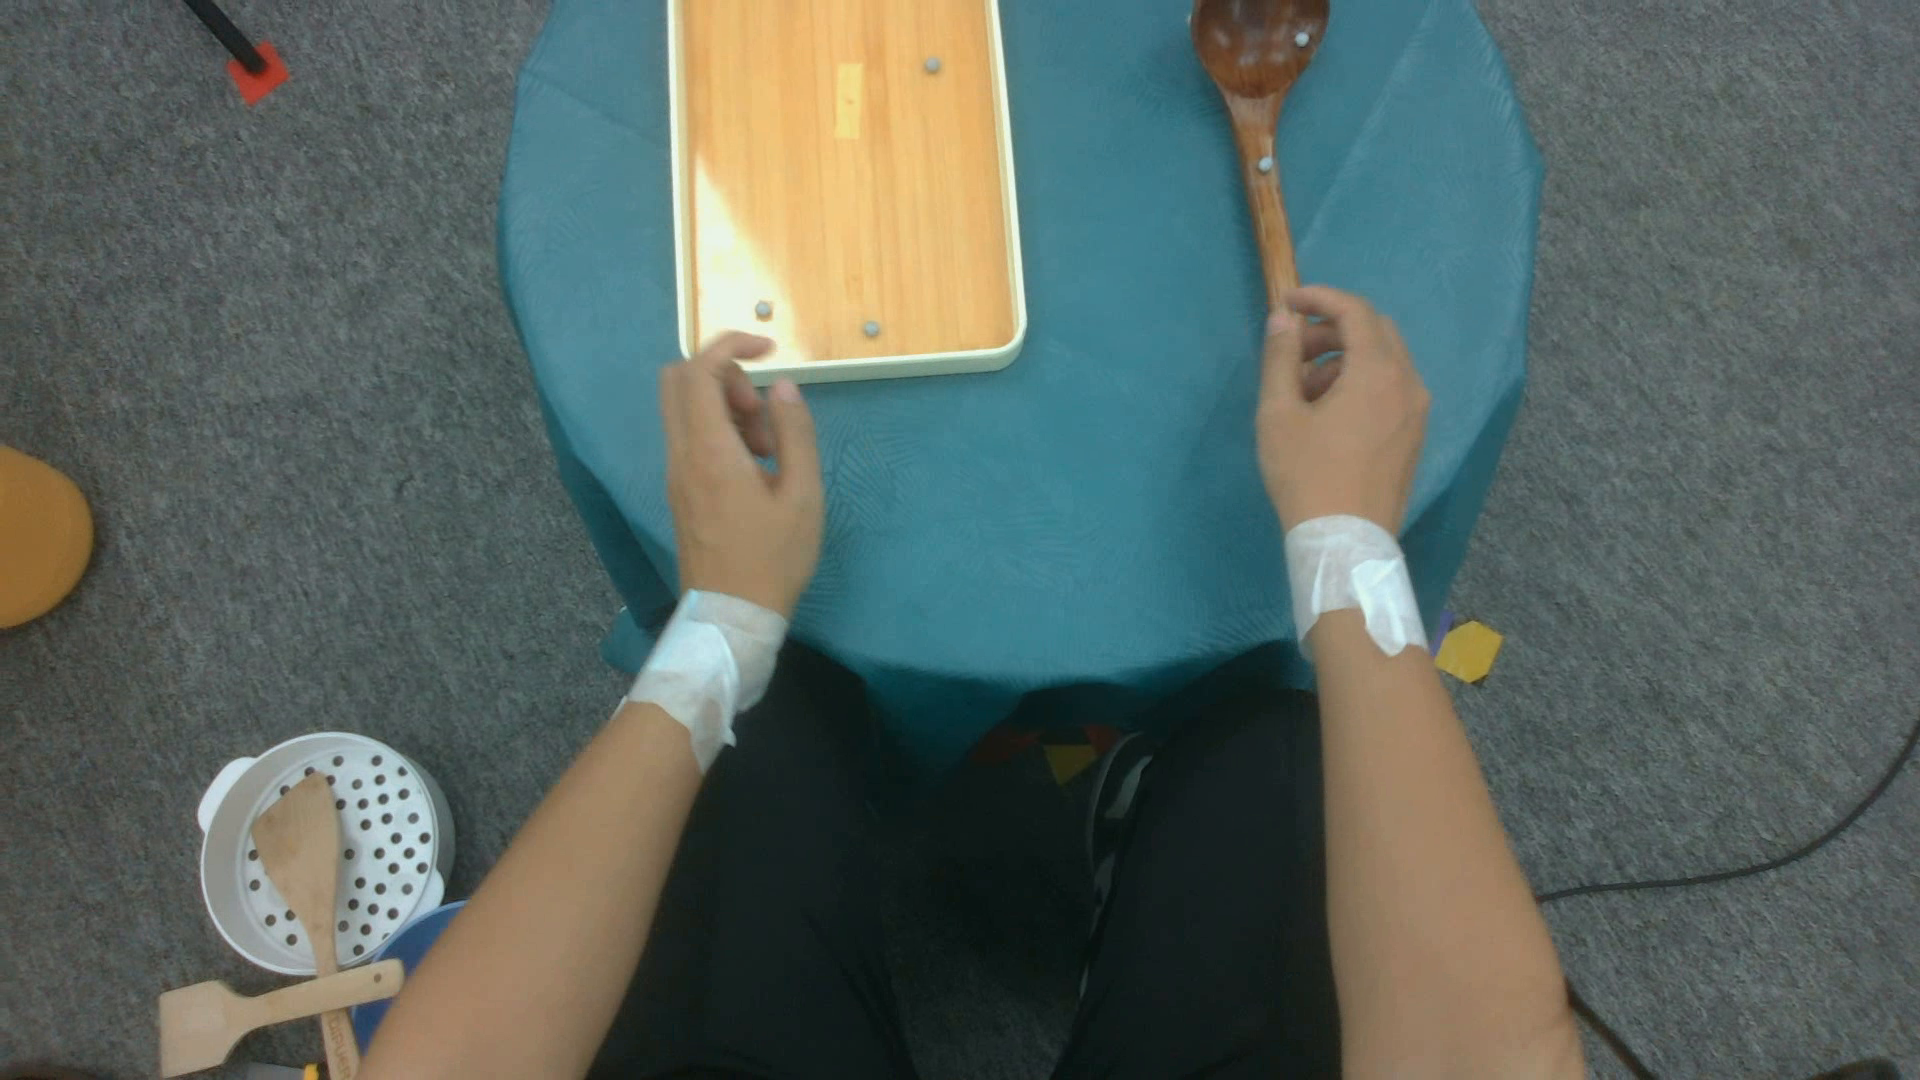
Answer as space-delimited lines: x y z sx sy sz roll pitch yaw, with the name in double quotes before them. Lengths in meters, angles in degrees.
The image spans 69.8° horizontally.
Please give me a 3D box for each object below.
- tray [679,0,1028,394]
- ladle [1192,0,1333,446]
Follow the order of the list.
"tray" -0.066 -0.234 0.809 0.191 0.027 0.301 -4 74 -1
"ladle" 0.183 -0.194 0.773 0.082 0.076 0.274 -3 74 -5
